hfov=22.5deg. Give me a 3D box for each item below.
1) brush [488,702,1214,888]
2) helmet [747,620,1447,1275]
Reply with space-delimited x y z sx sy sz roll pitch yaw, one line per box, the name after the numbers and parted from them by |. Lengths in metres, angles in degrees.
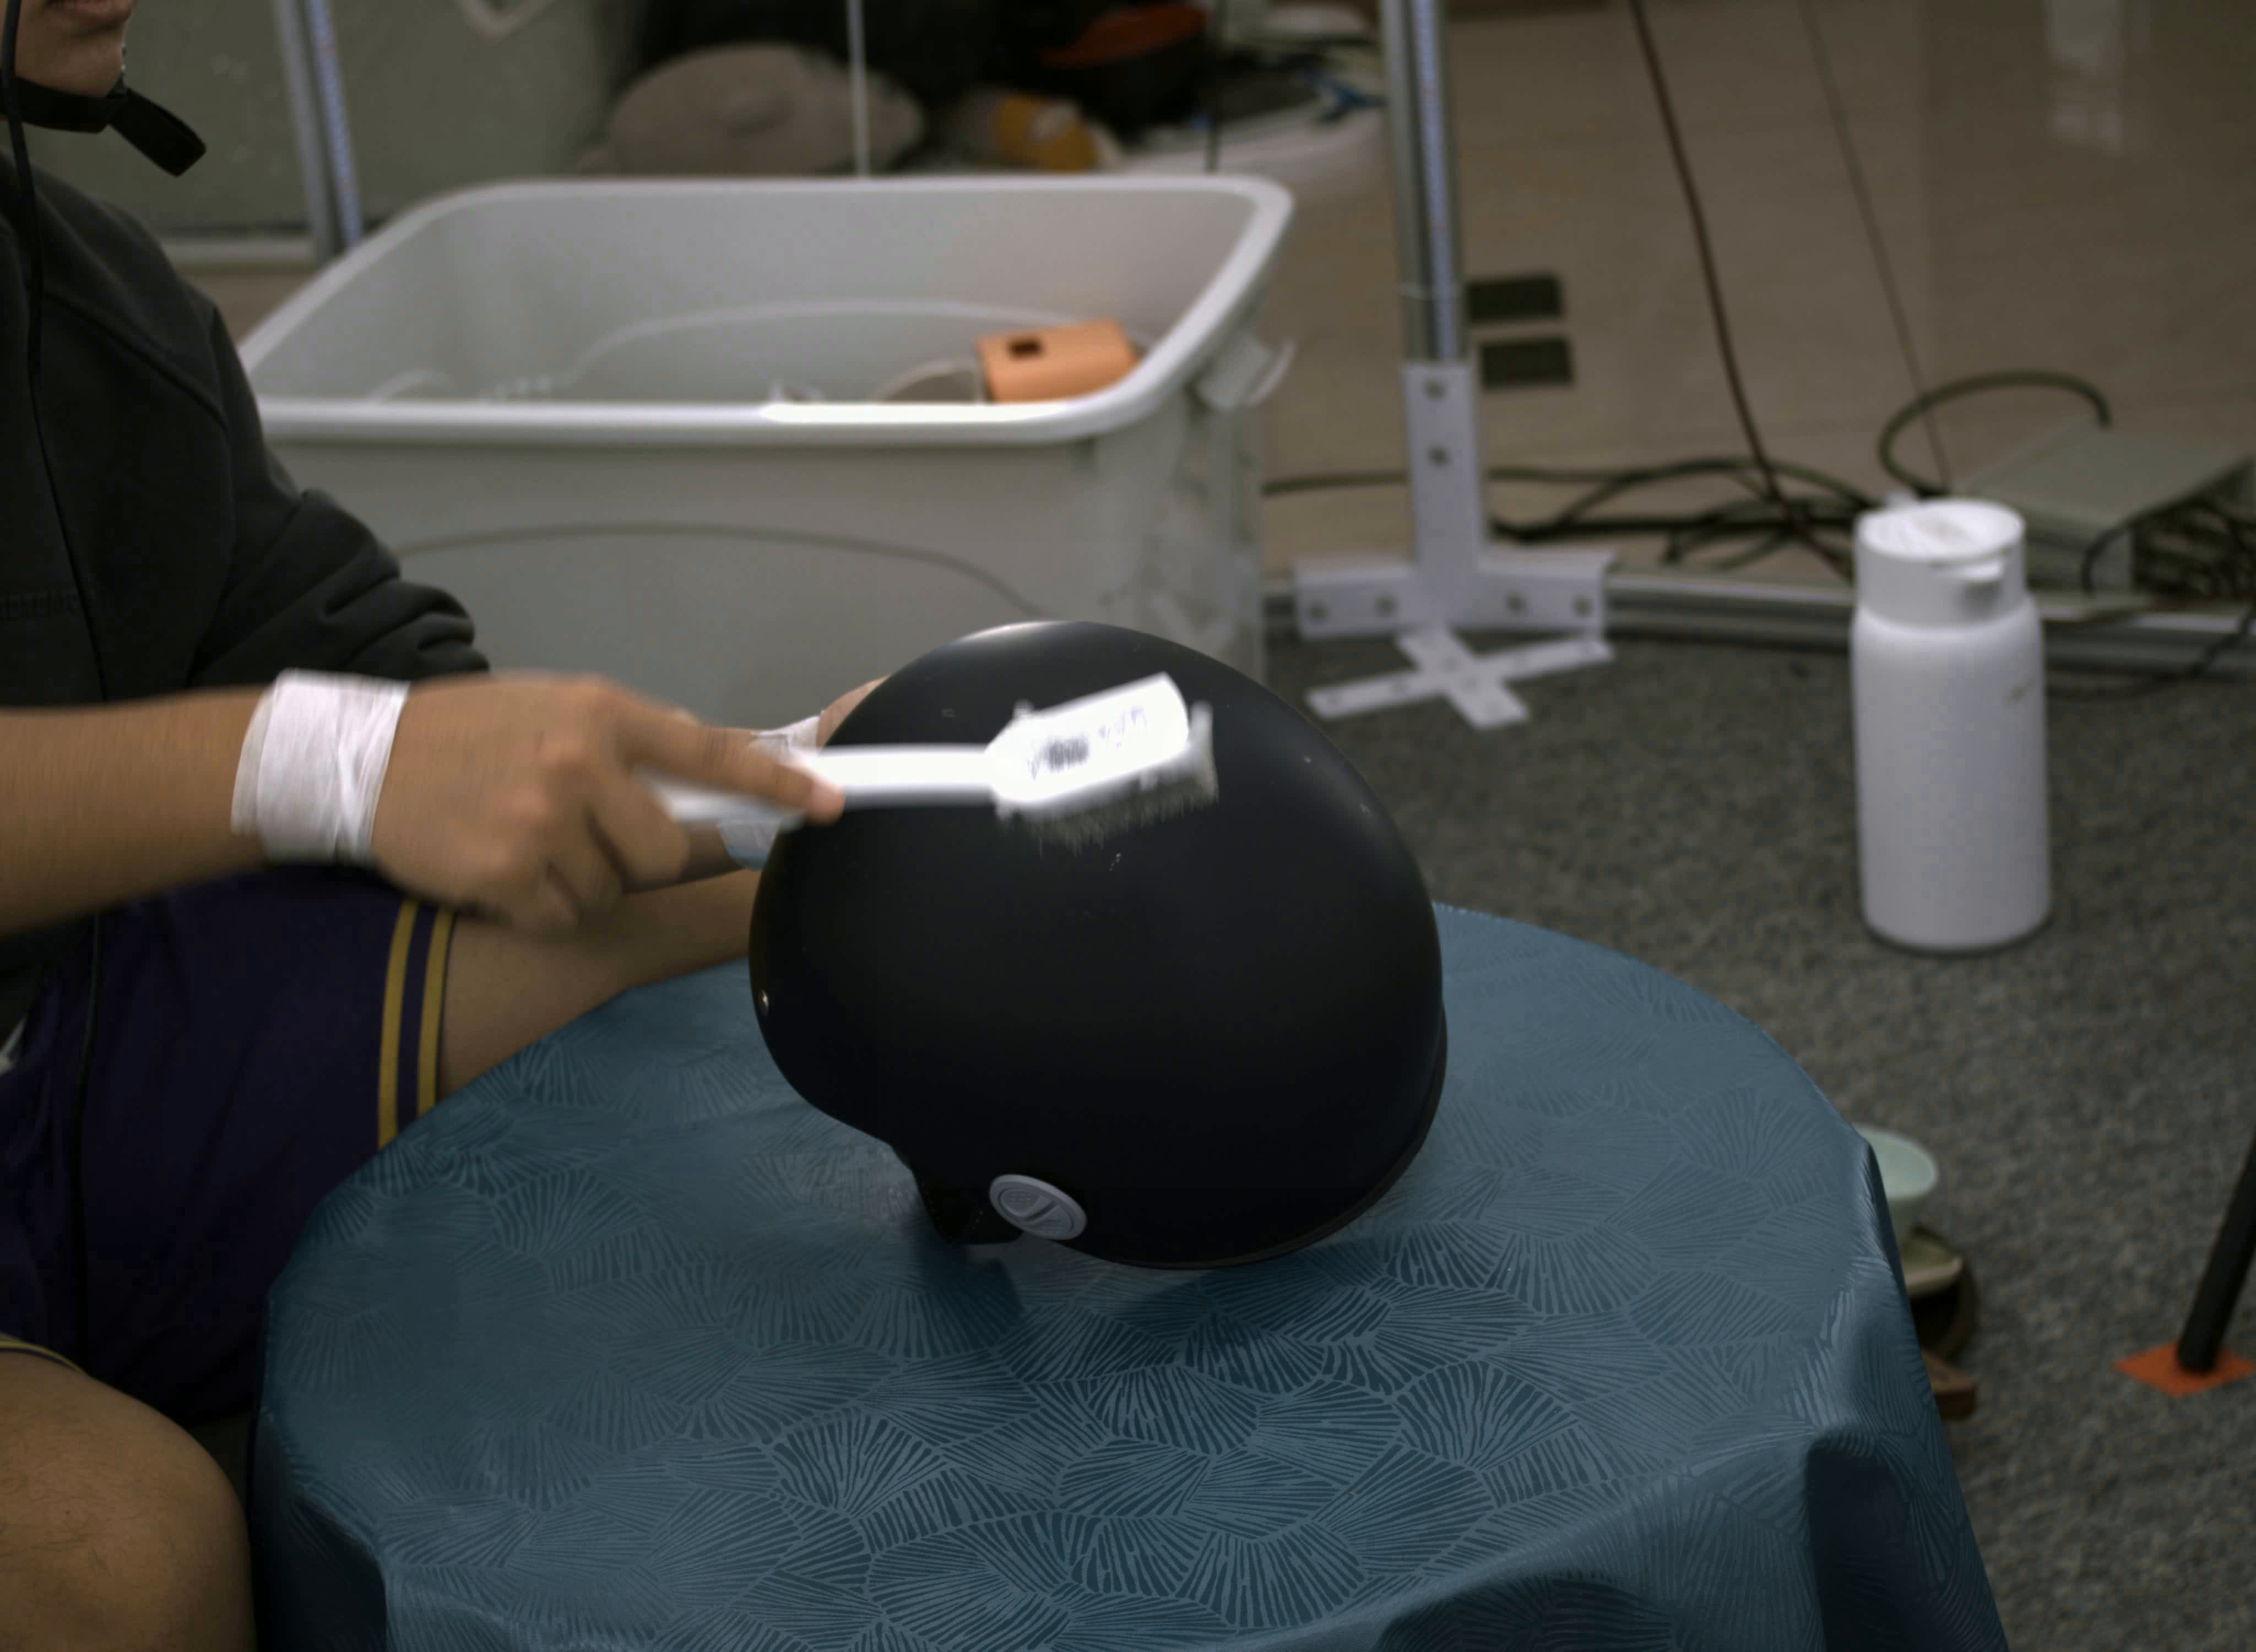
-0.092 0.001 1.894 0.243 0.051 0.034 -10 59 -7 | brush
-0.010 0.027 2.089 0.271 0.170 0.227 29 62 17 | helmet
